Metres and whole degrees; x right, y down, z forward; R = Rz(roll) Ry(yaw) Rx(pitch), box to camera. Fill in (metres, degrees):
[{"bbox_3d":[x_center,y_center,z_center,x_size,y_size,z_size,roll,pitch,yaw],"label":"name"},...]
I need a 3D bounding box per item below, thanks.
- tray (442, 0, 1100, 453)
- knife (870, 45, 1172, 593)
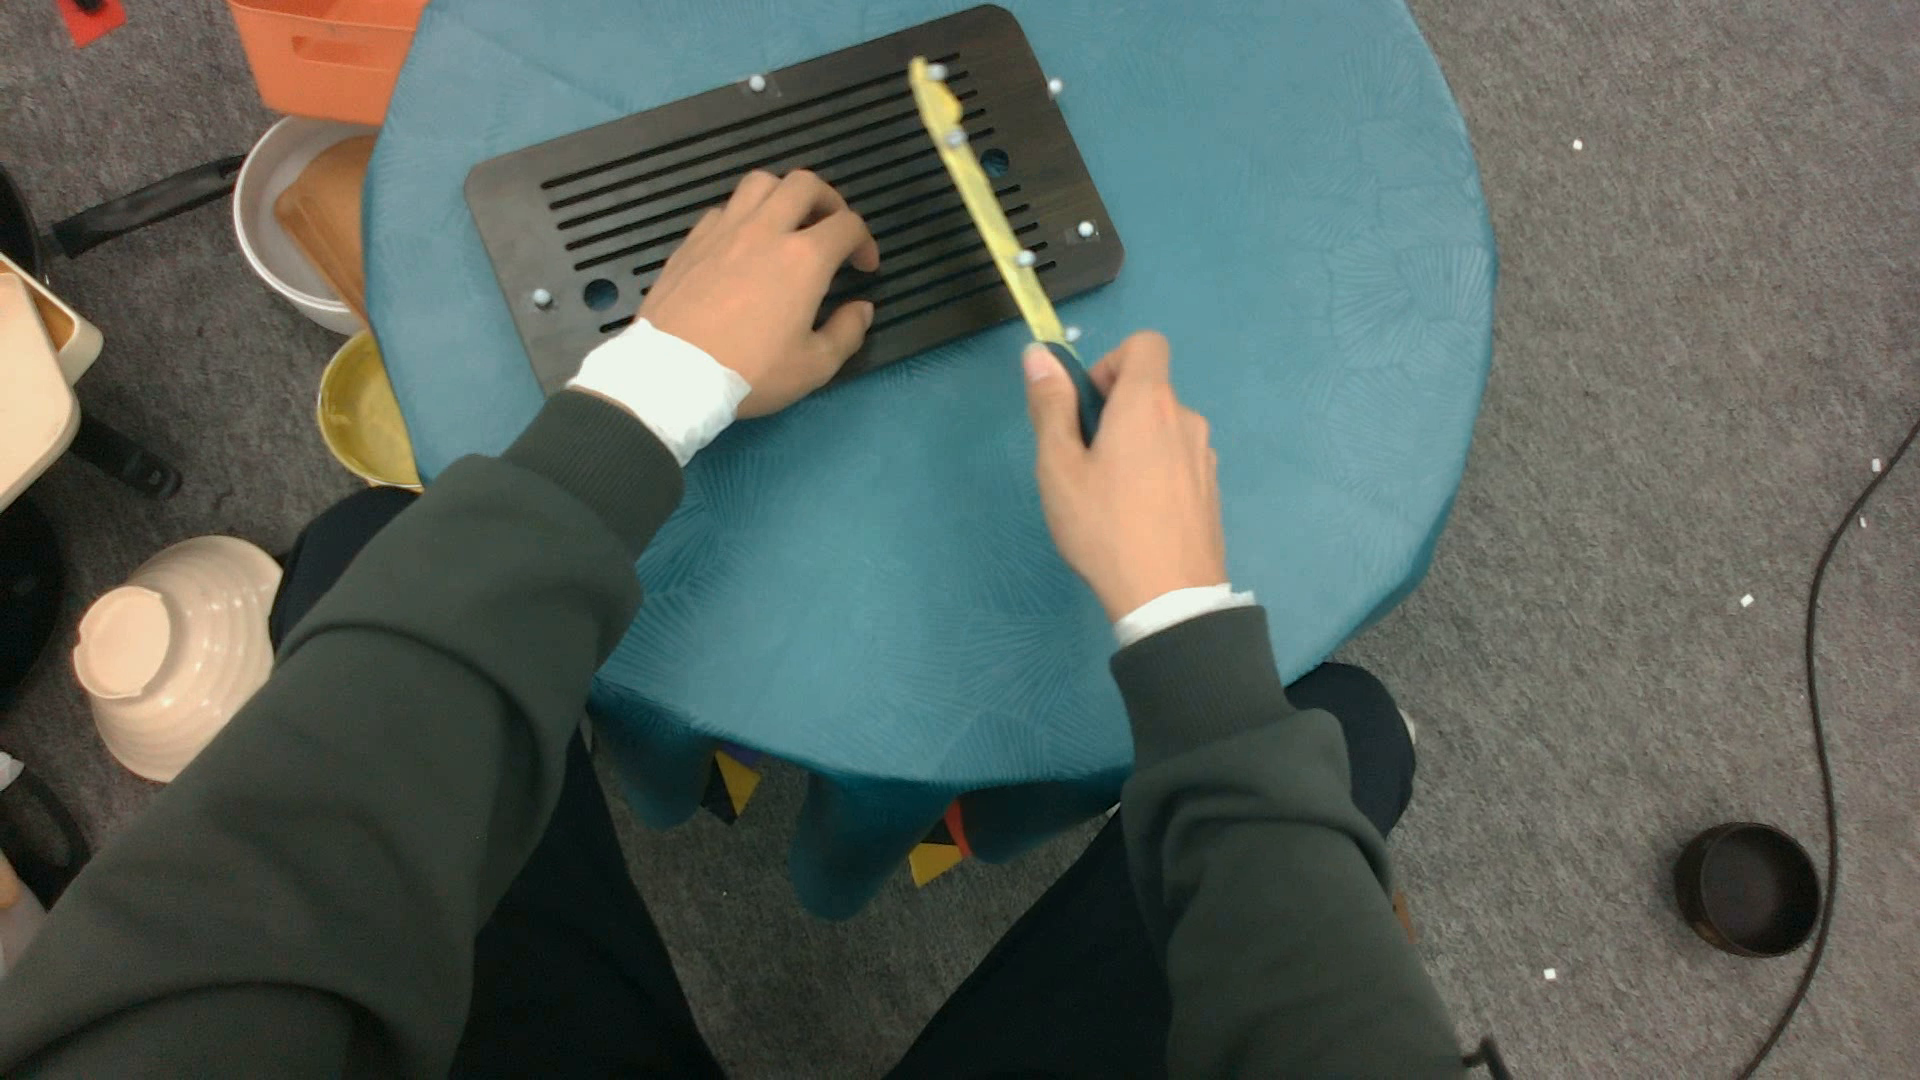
[{"bbox_3d":[-0.093,-0.170,0.713,0.306,0.018,0.170,-22,81,-12],"label":"tray"},{"bbox_3d":[0.026,-0.107,0.647,0.027,0.081,0.289,-28,87,17],"label":"knife"}]
